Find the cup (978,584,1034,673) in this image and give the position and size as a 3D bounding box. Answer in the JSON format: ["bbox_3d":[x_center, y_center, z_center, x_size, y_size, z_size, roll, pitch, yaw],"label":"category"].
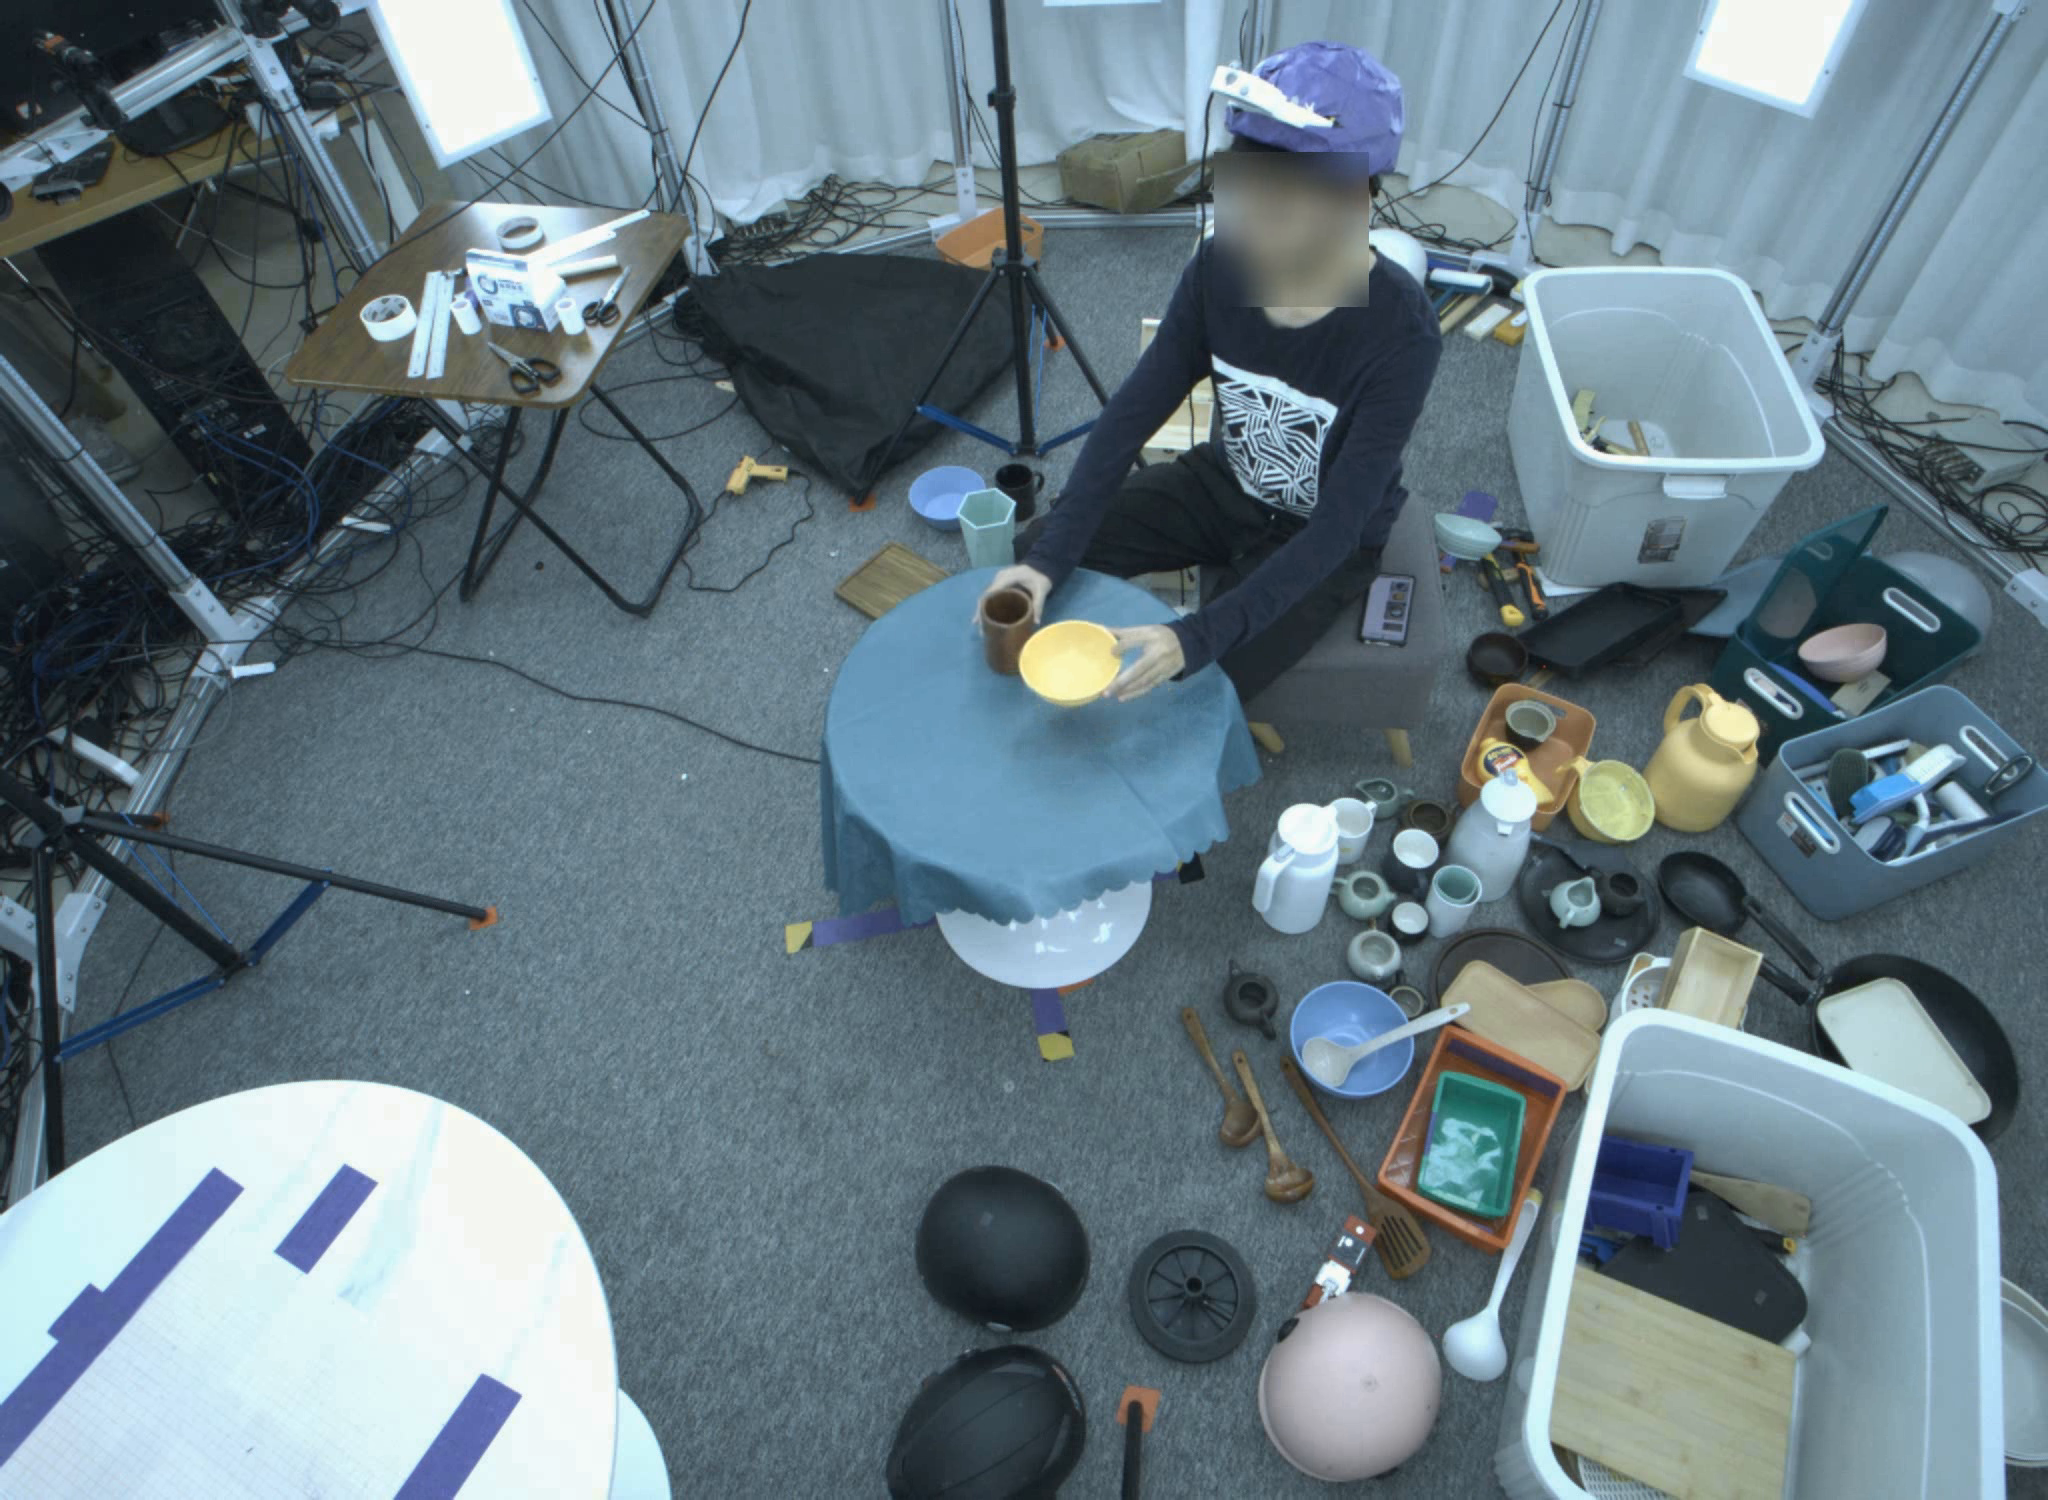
[{"bbox_3d":[-0.026,-0.182,1.838,0.088,0.119,0.087,1,57,0],"label":"cup"}]

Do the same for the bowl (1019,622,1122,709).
[{"bbox_3d":[0.068,-0.108,1.747,0.145,0.061,0.144,-2,55,4],"label":"bowl"}]
